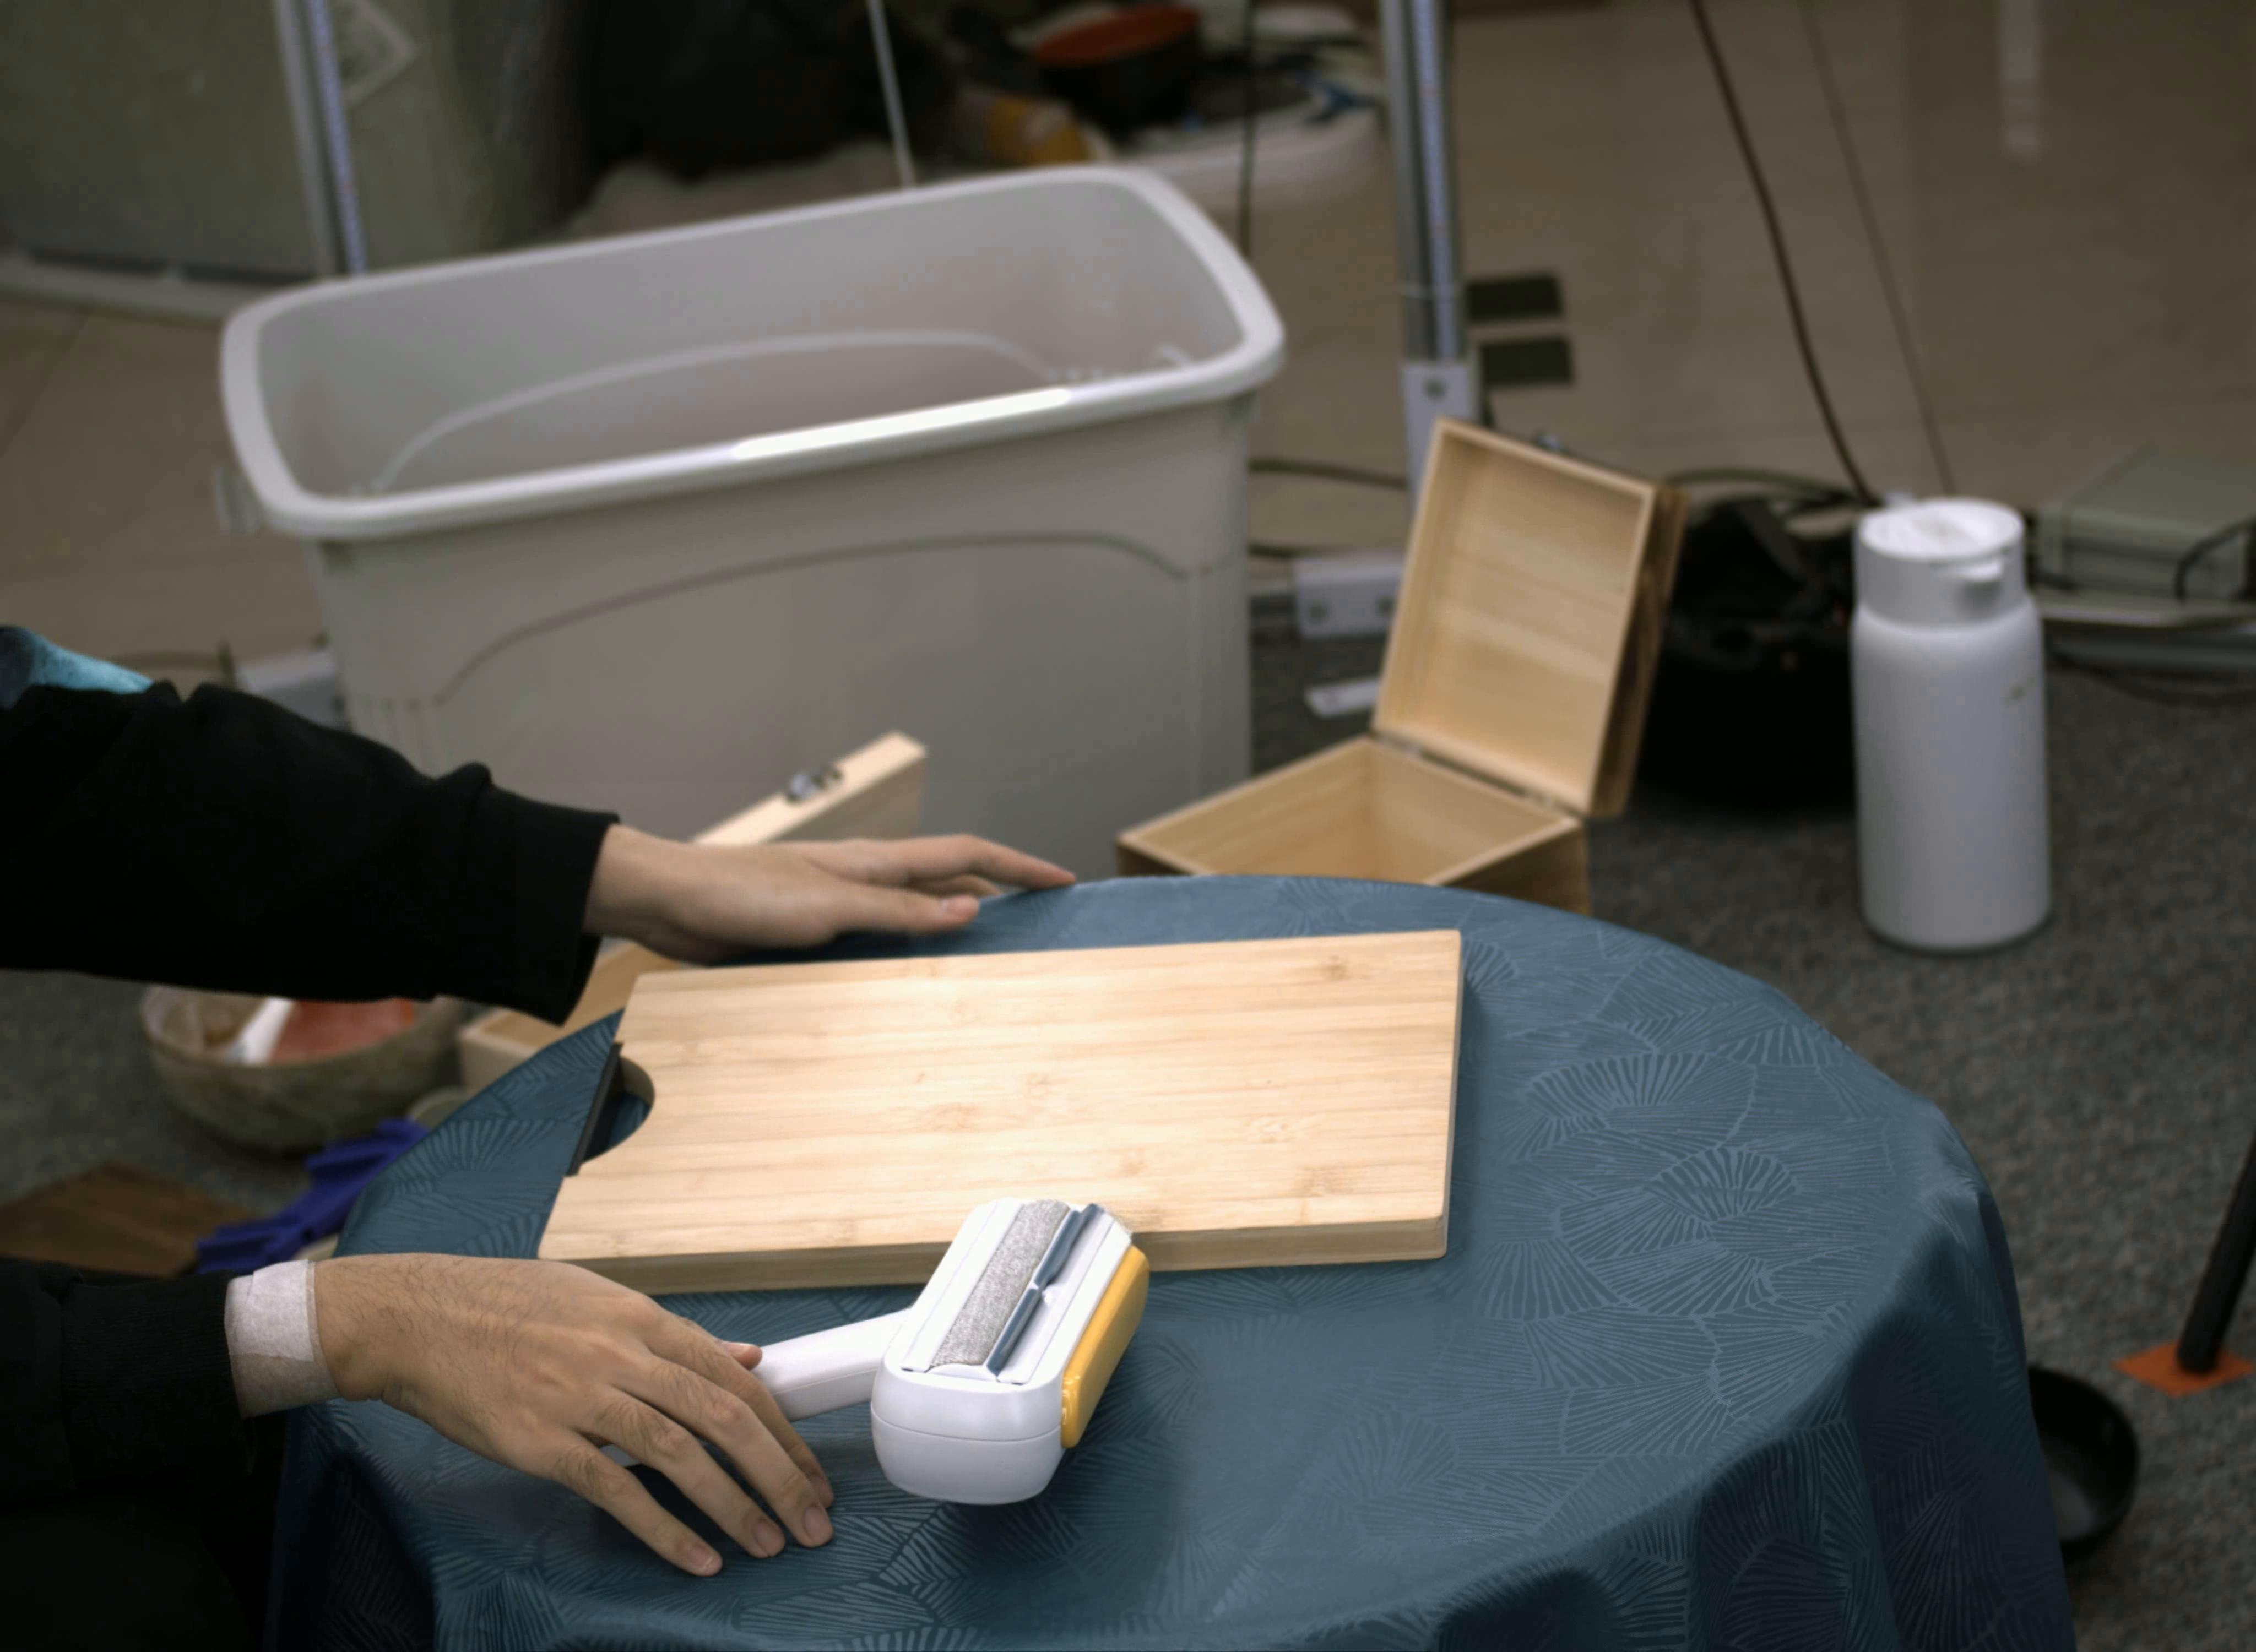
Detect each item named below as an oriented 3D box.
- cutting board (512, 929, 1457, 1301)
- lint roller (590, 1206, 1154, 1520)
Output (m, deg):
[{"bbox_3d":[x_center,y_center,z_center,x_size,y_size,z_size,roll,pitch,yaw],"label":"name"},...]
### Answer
[{"bbox_3d":[-0.048,0.110,2.199,0.348,0.024,0.247,-3,25,6],"label":"cutting board"},{"bbox_3d":[-0.098,0.190,1.978,0.192,0.075,0.190,-1,20,15],"label":"lint roller"}]
